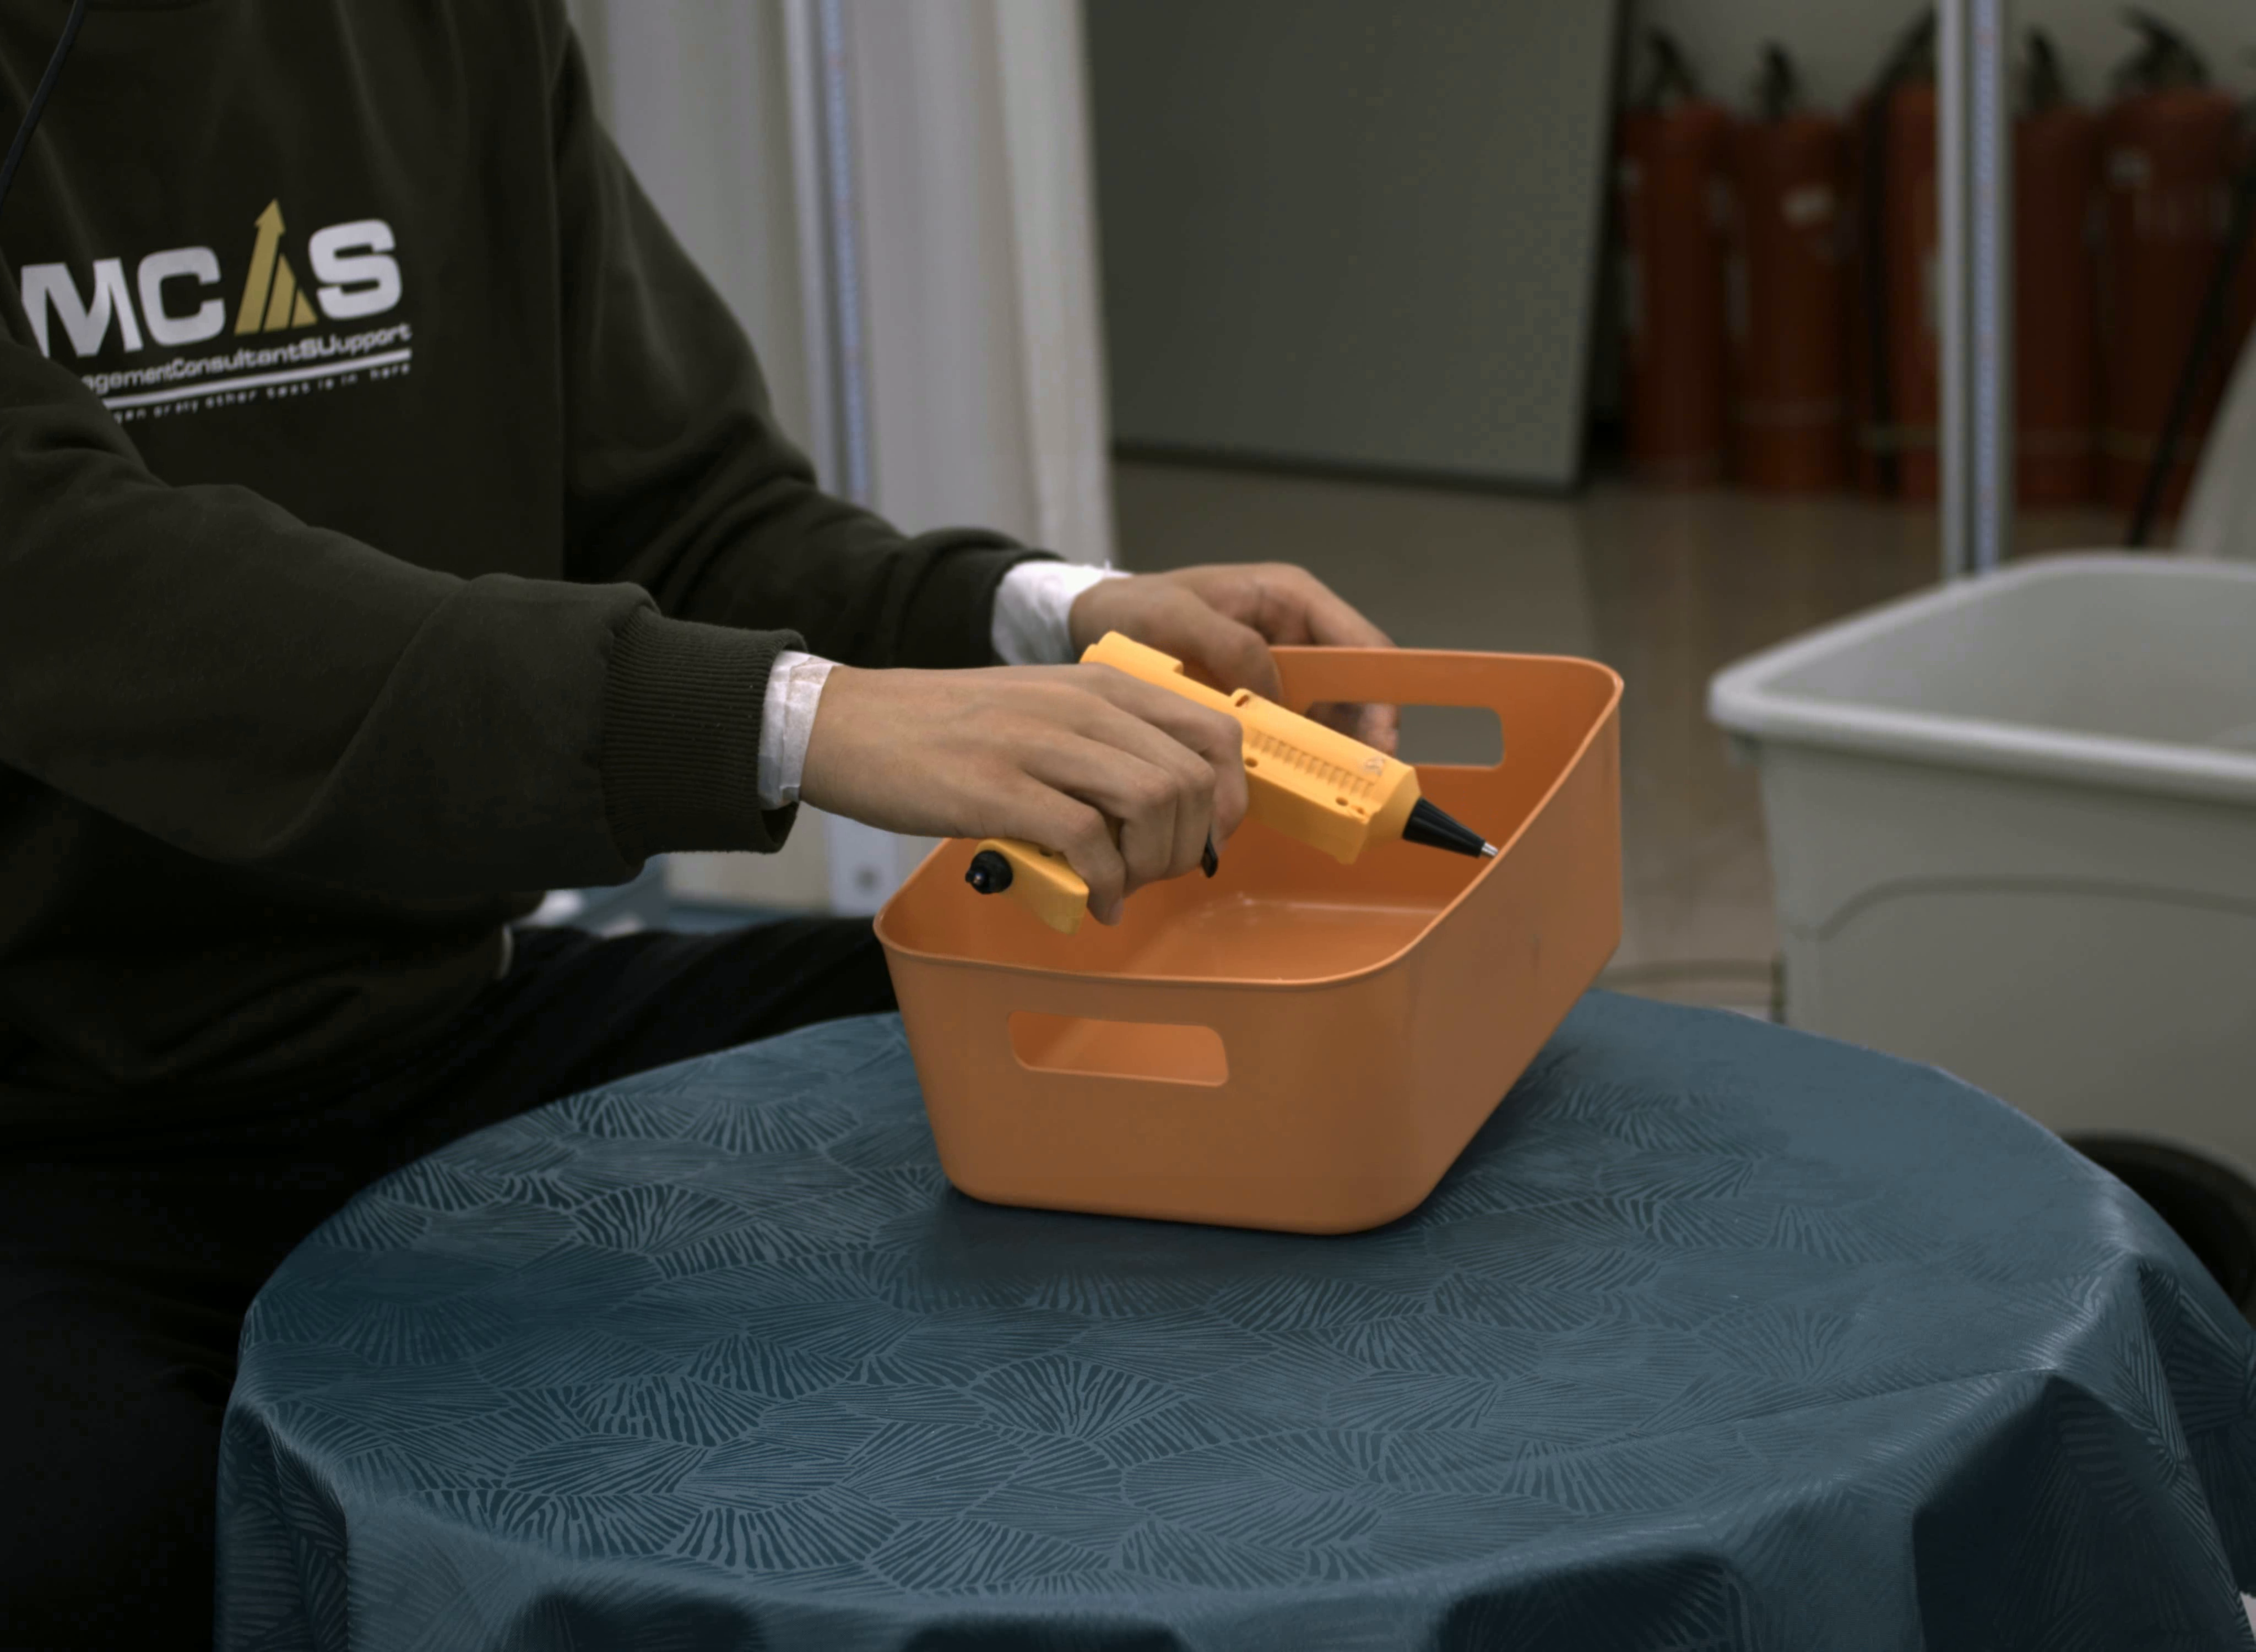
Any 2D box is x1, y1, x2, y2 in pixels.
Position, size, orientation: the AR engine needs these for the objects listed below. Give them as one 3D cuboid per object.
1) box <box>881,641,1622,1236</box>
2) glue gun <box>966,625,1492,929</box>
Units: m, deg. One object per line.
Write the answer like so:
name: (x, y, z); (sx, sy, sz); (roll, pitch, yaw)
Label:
box: (0.050, 0.037, 1.825); (0.200, 0.103, 0.271); (1, 25, 25)
glue gun: (0.037, 0.003, 1.721); (0.150, 0.031, 0.132); (21, 40, 7)
